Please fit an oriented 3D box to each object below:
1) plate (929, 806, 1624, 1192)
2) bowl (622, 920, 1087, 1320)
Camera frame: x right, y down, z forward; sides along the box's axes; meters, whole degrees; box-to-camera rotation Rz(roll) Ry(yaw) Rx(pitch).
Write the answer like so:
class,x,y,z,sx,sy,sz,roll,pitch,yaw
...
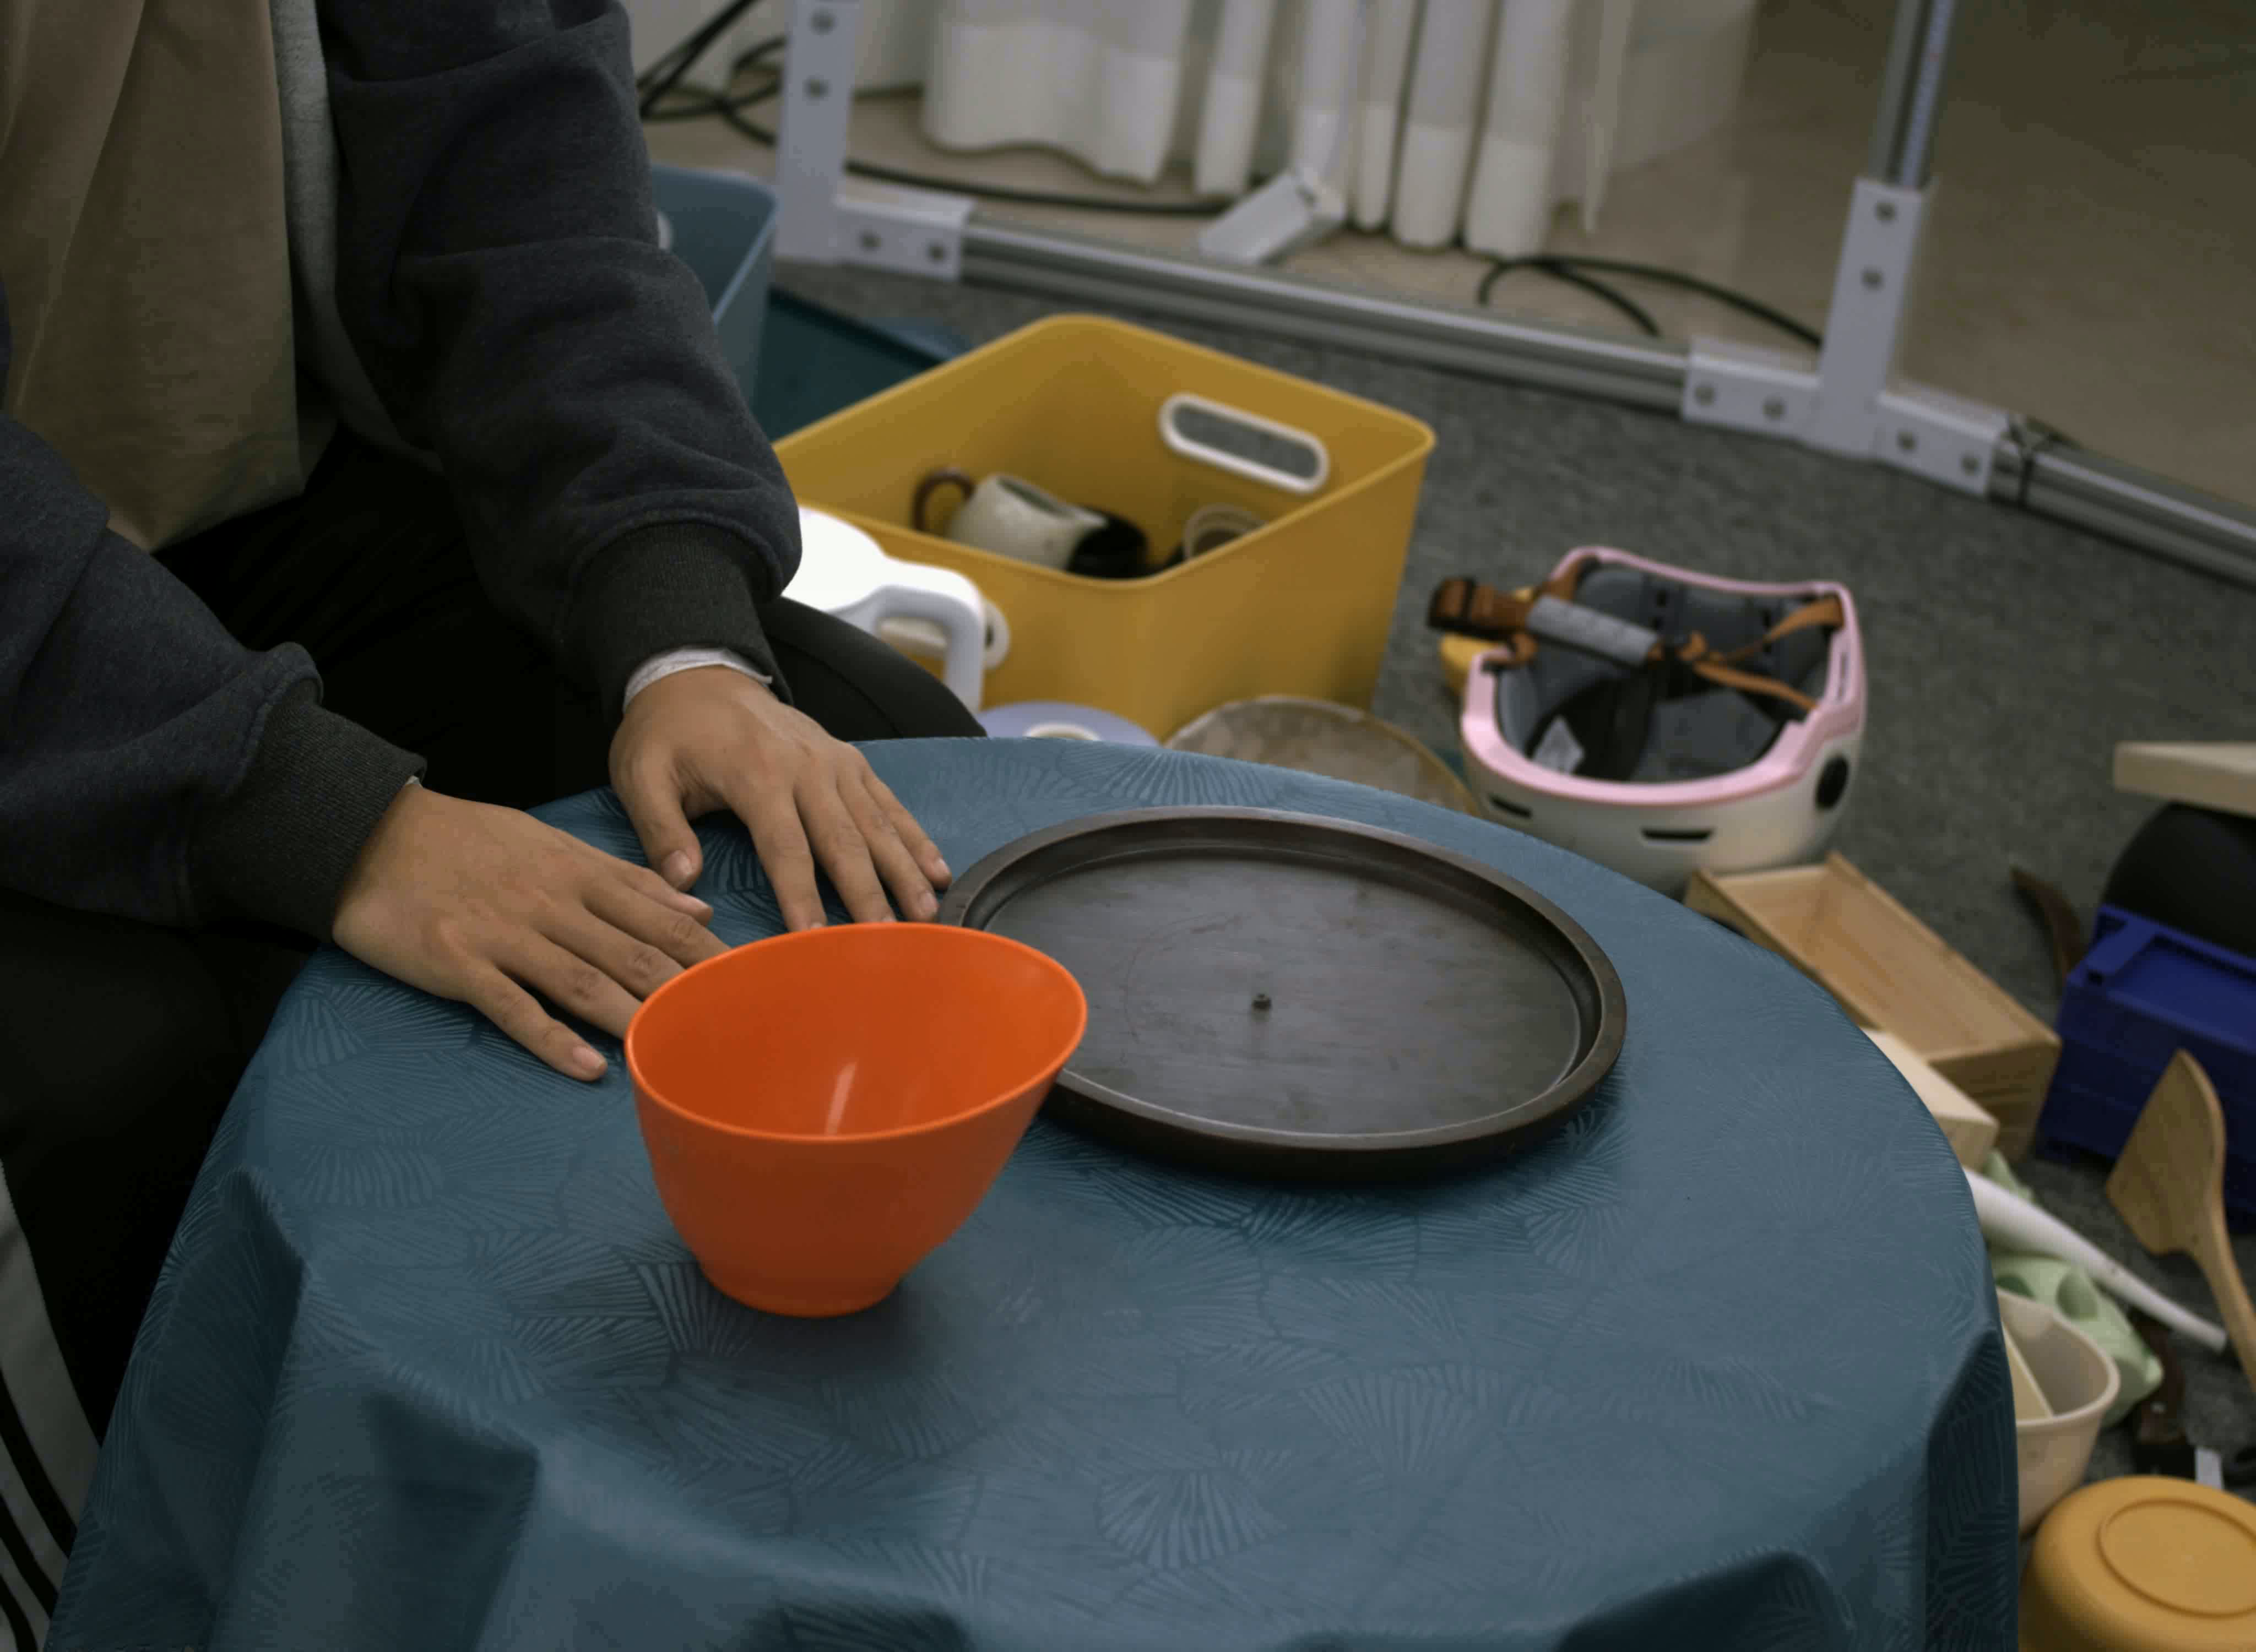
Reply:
class,x,y,z,sx,sy,sz,roll,pitch,yaw
plate,0.053,0.060,1.913,0.254,0.029,0.256,4,28,-3
bowl,-0.092,0.100,1.714,0.147,0.104,0.149,5,28,-3
